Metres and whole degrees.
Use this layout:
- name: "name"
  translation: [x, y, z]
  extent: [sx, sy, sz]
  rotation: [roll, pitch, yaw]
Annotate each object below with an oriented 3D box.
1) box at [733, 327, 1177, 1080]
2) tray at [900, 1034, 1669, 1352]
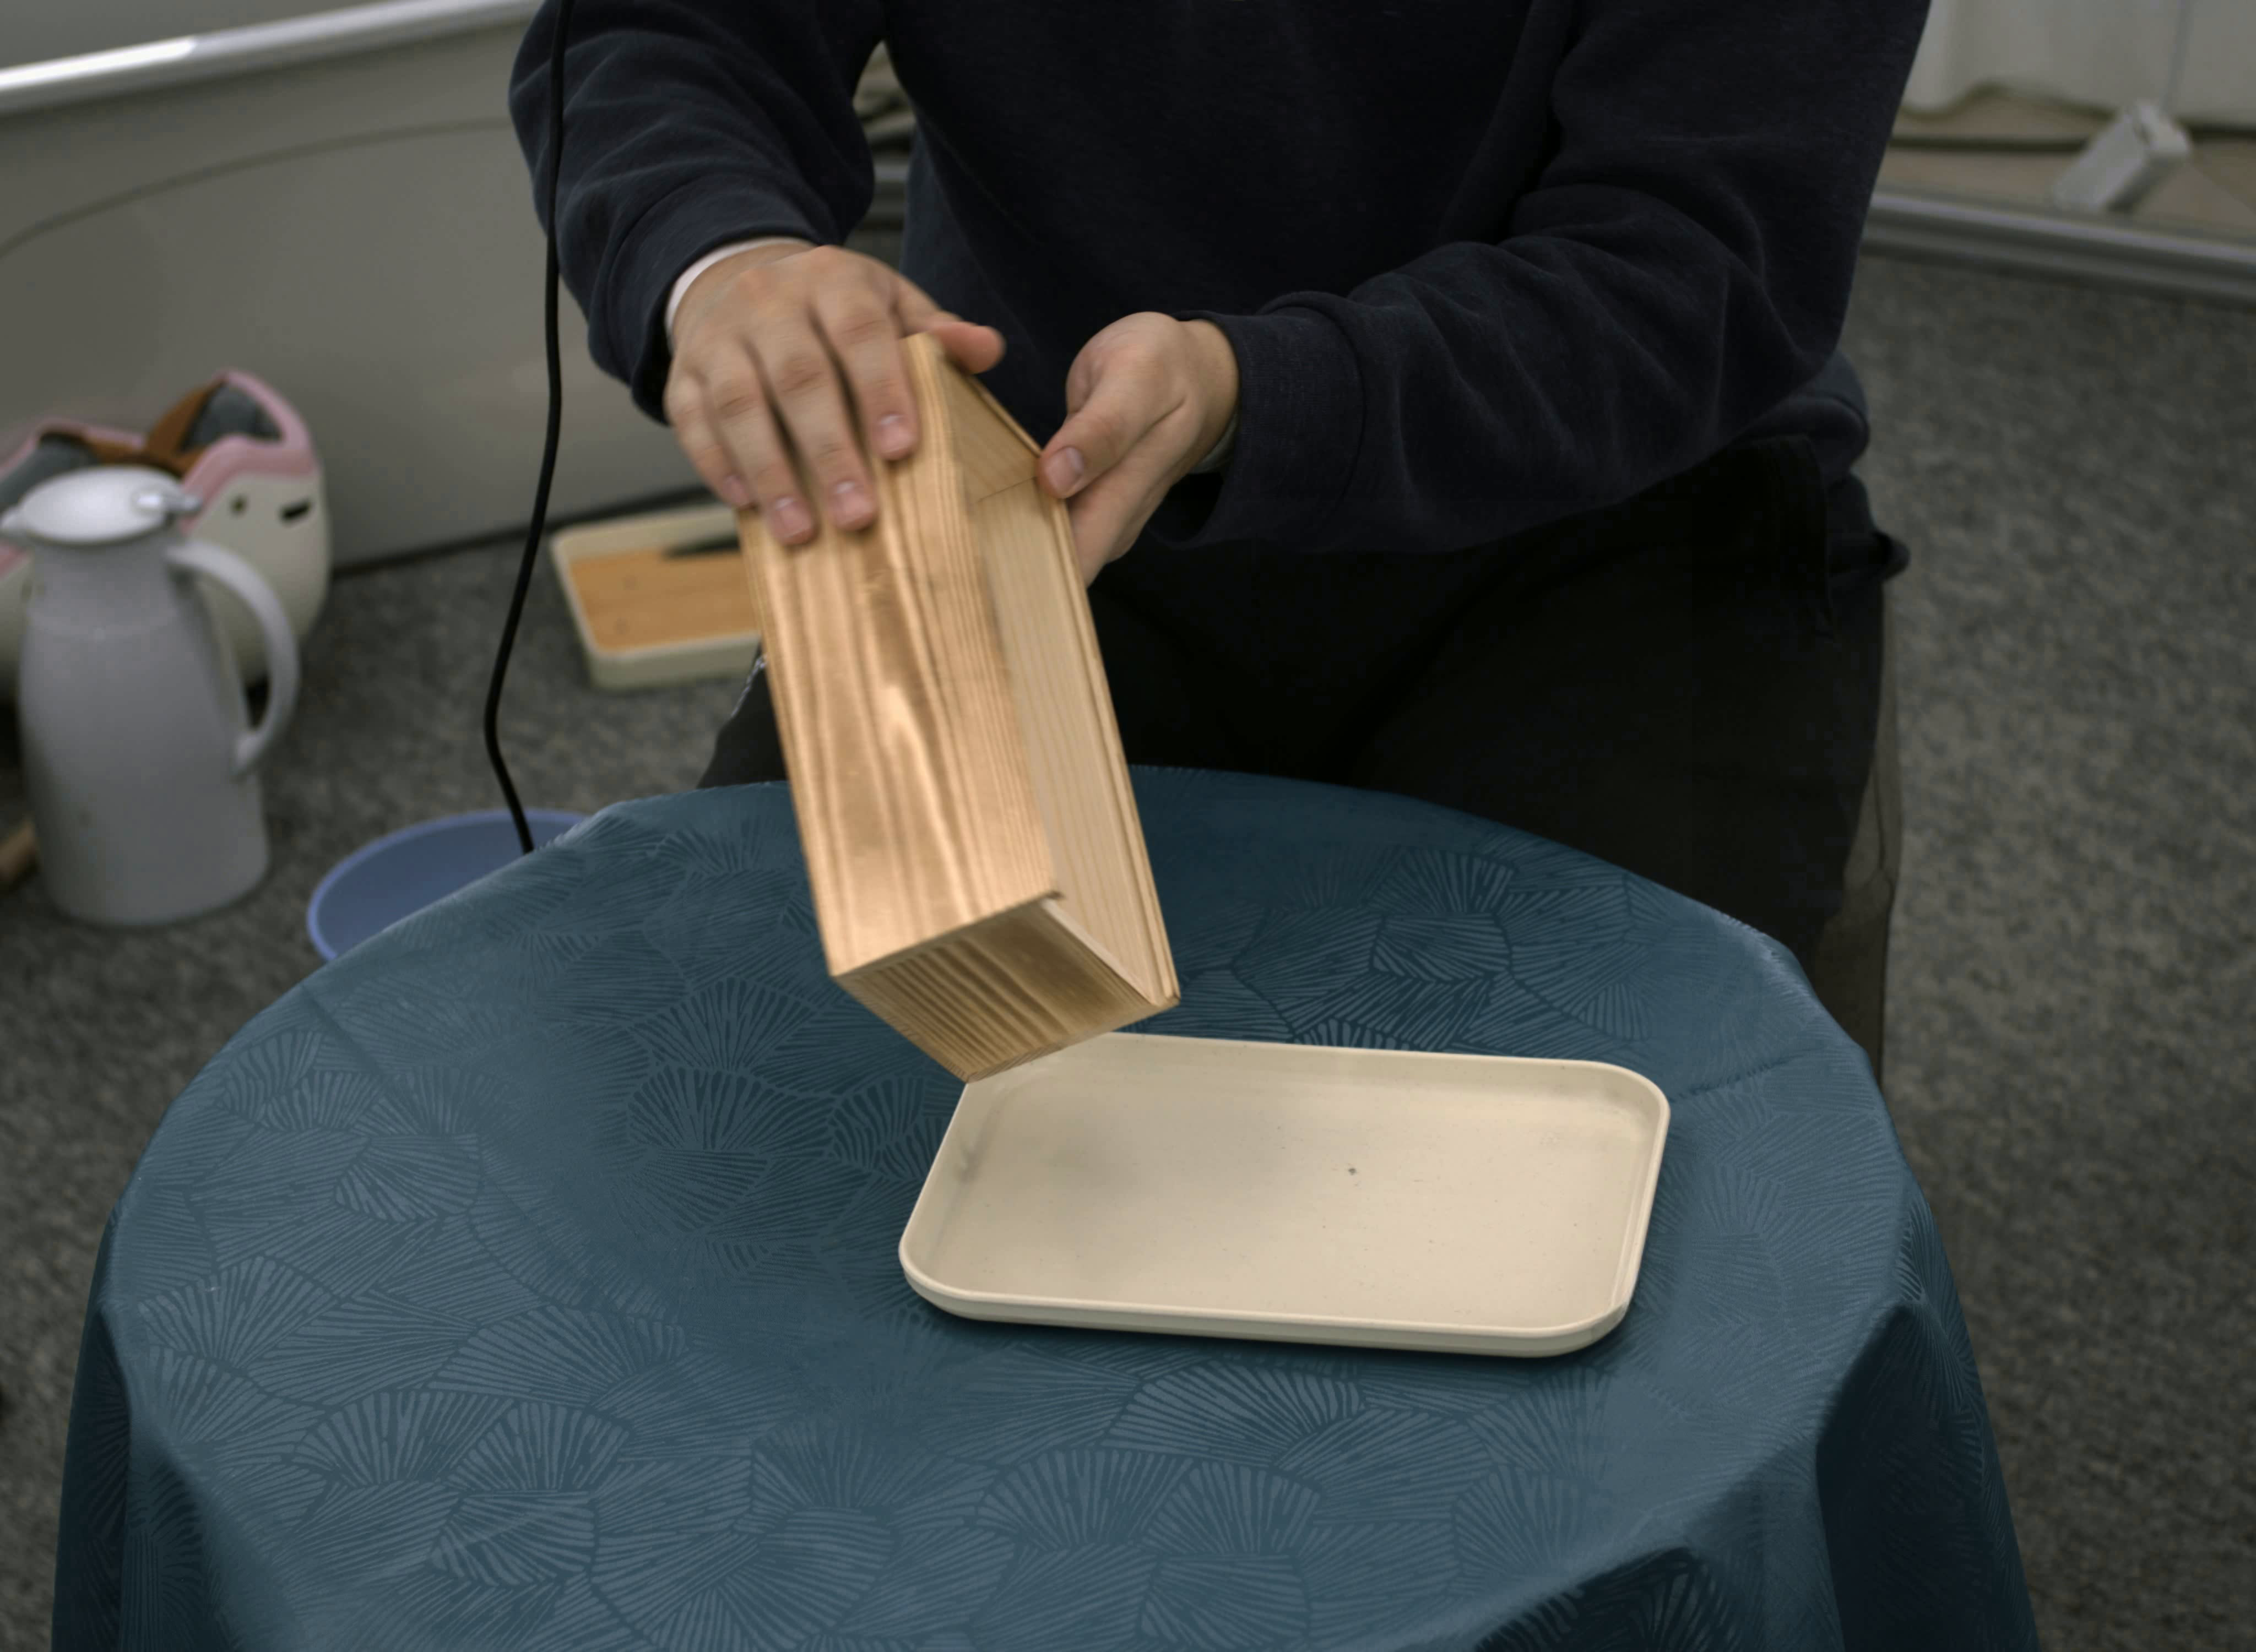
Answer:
- name: "box"
  translation: [-0.057, -0.040, 1.837]
  extent: [0.079, 0.107, 0.215]
  rotation: [-20, 62, 13]
- name: "tray"
  translation: [0.053, 0.121, 1.843]
  extent: [0.238, 0.017, 0.174]
  rotation: [3, 27, 11]
